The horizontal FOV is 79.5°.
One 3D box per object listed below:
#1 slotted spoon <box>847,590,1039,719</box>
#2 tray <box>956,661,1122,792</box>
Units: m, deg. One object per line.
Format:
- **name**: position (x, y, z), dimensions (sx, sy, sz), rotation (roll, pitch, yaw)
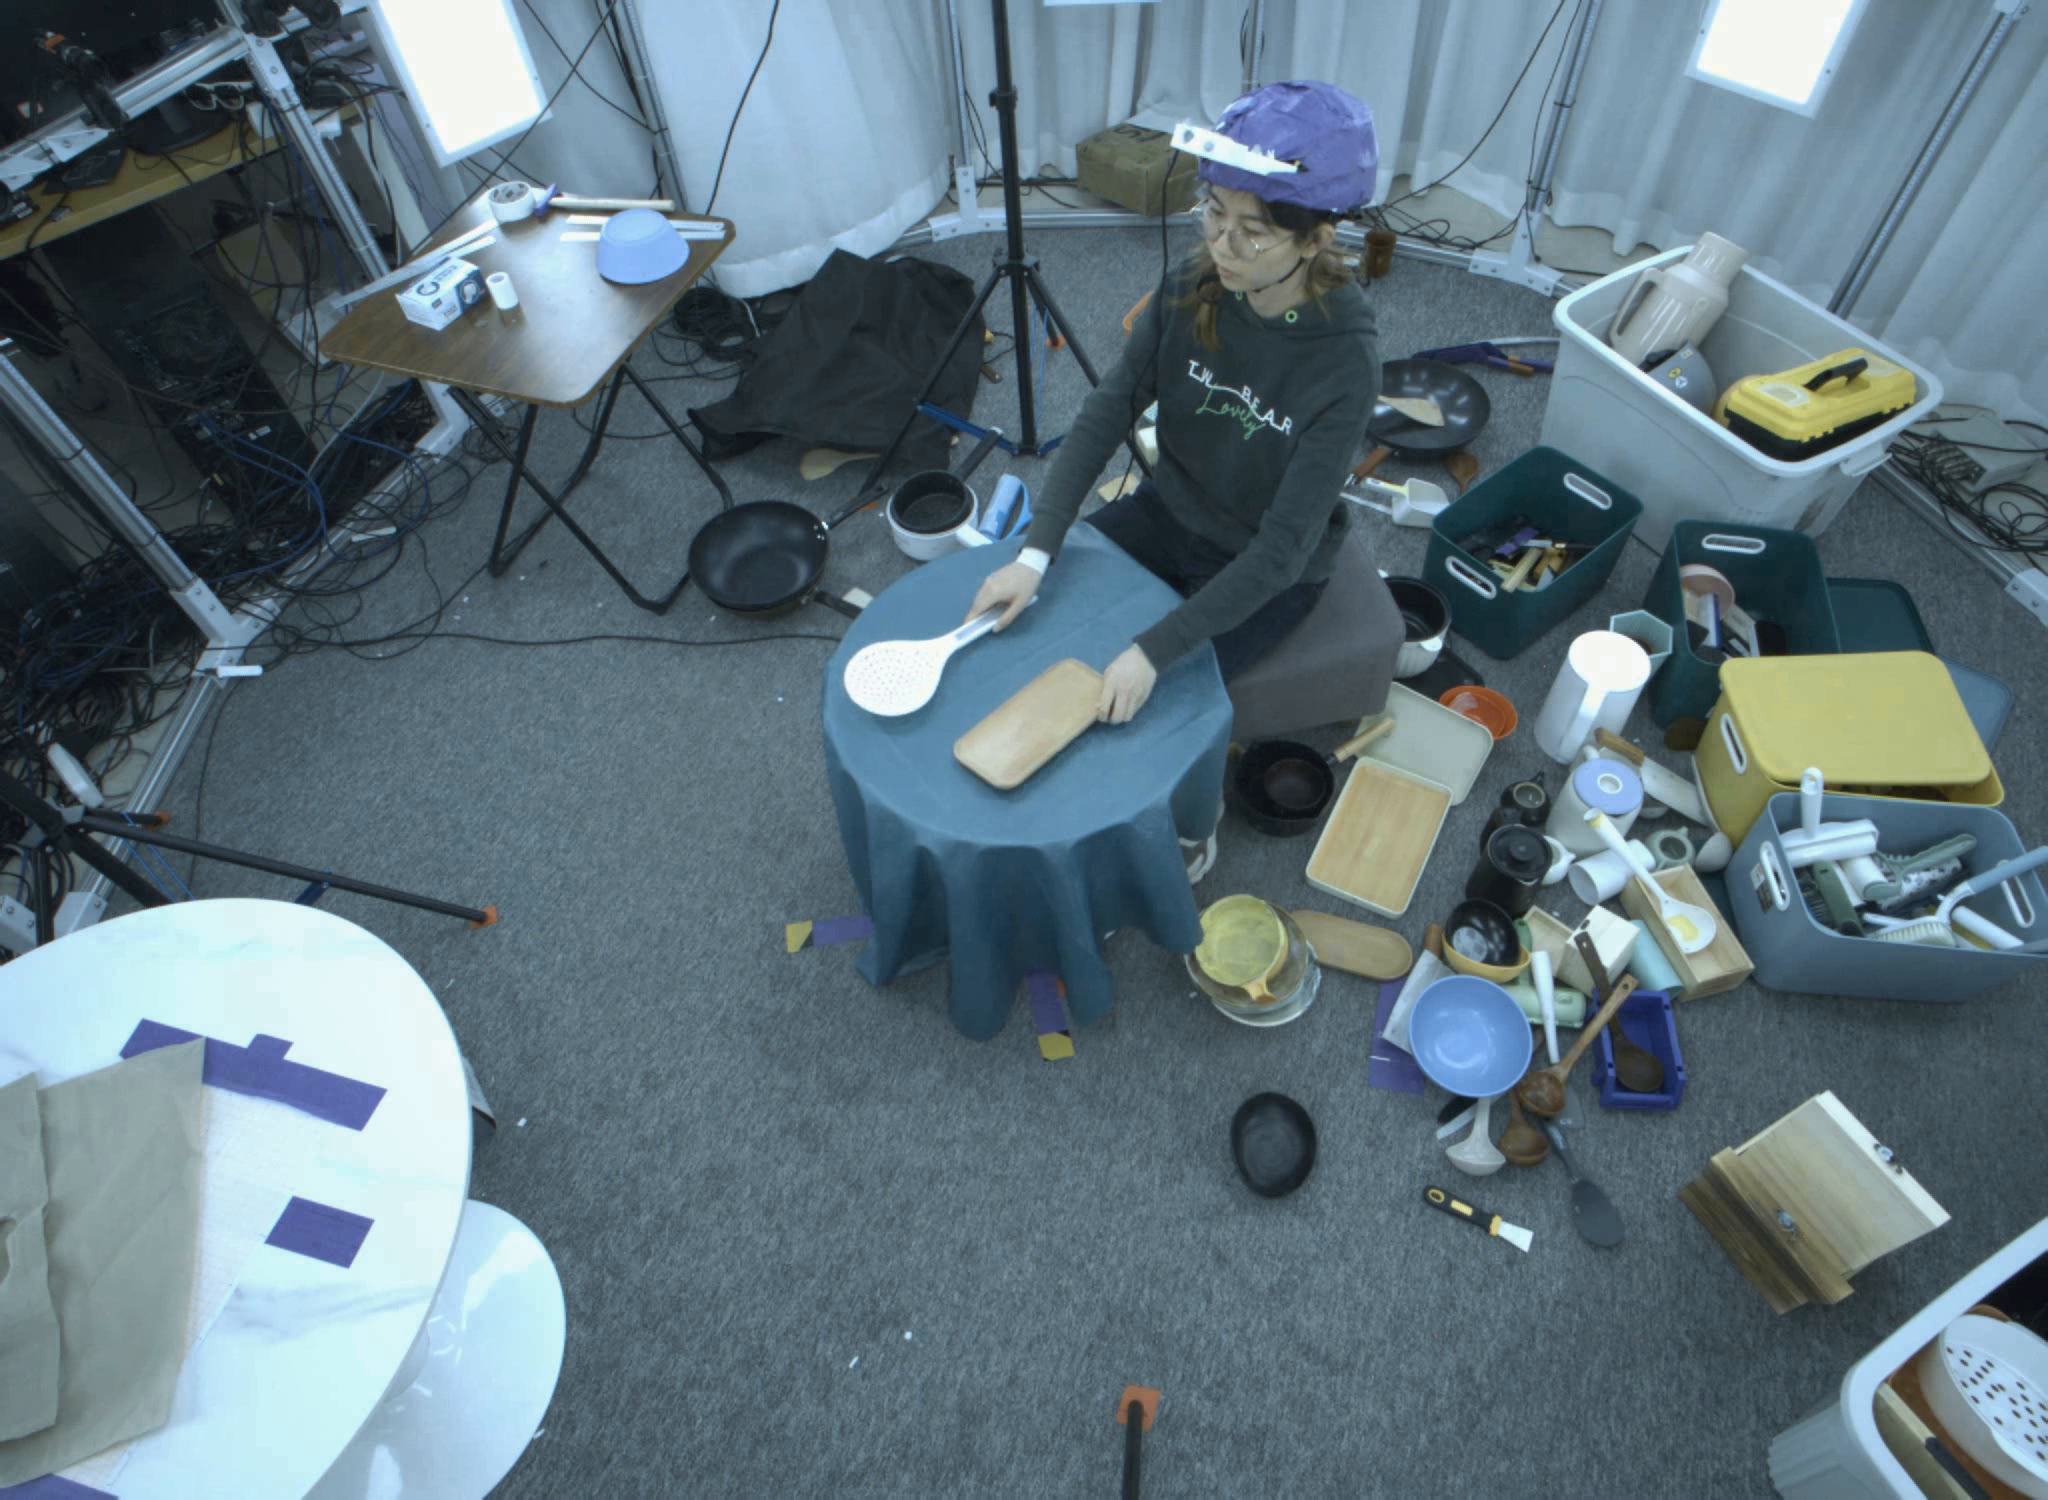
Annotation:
- **slotted spoon**: position (-0.116, -0.156, 1.880), dimensions (0.352, 0.046, 0.134), rotation (-36, 70, -21)
- **tray**: position (0.023, -0.037, 1.803), dimensions (0.252, 0.023, 0.128), rotation (-39, 56, -24)
